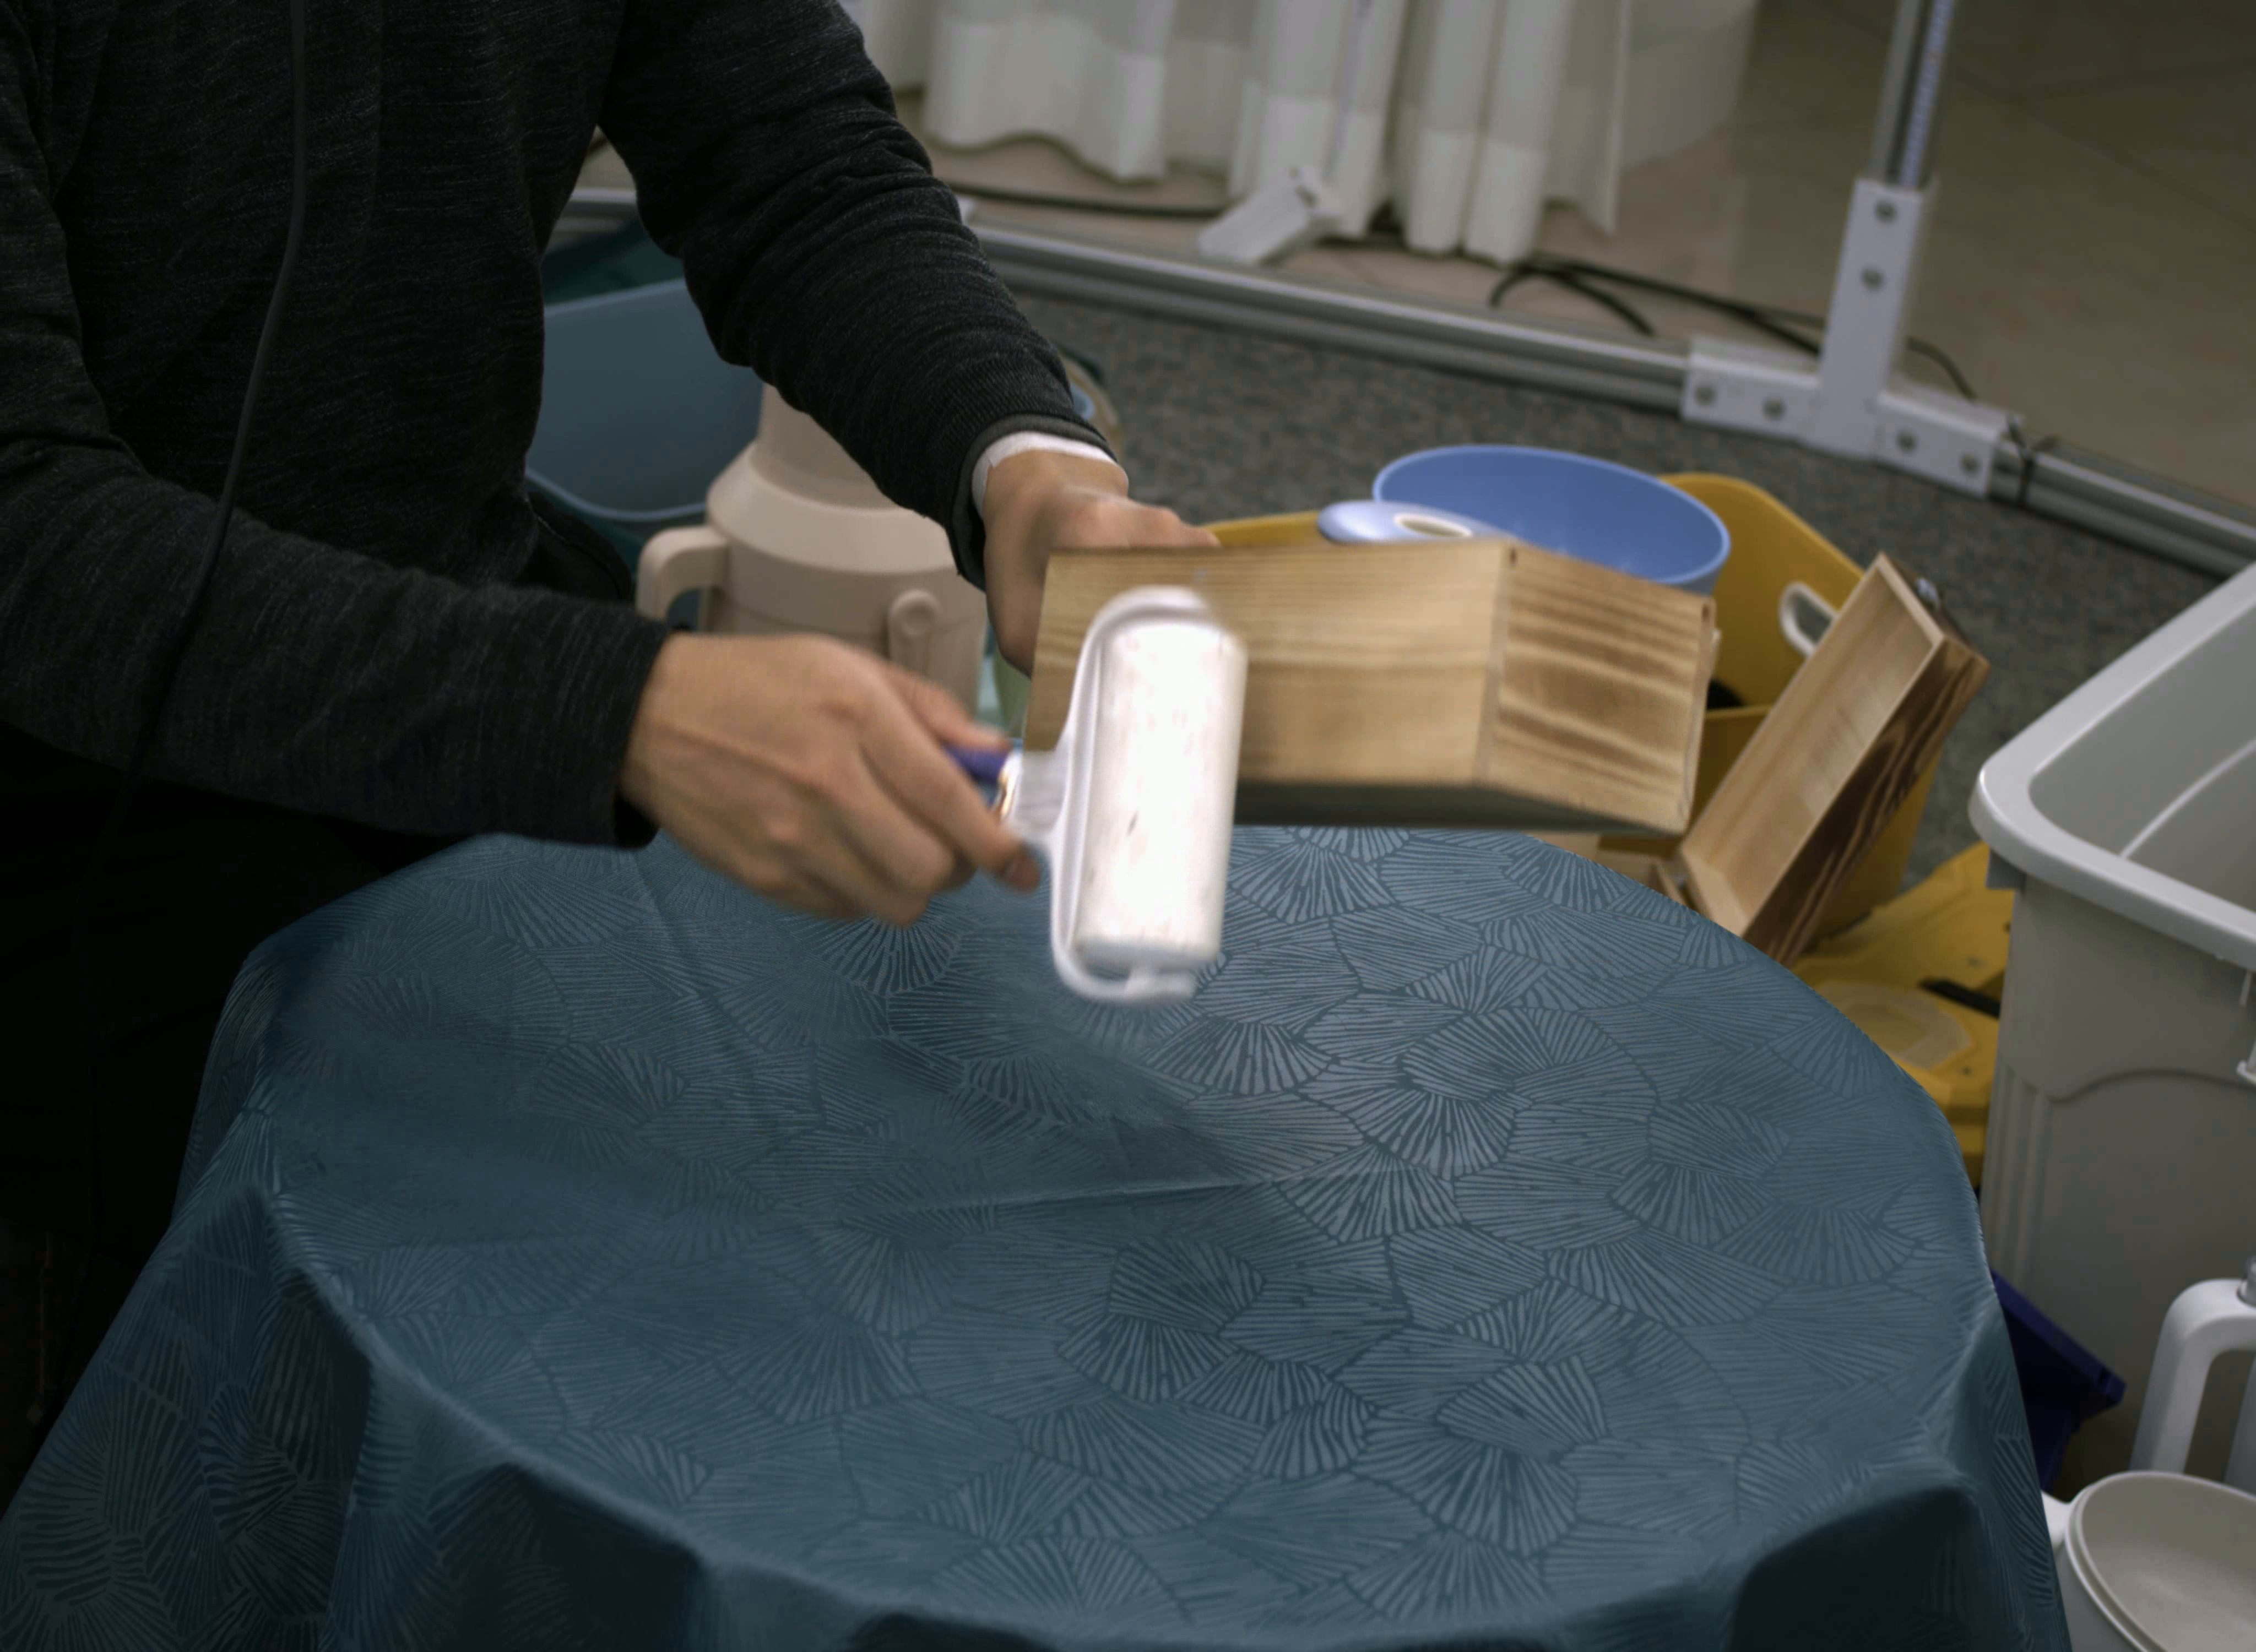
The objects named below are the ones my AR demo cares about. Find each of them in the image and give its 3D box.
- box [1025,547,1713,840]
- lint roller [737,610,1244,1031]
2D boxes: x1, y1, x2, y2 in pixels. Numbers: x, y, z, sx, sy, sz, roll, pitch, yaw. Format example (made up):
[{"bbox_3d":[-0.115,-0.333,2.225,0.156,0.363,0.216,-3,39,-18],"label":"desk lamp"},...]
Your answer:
[{"bbox_3d":[0.078,-0.042,1.773,0.106,0.080,0.212,11,-7,-43],"label":"box"},{"bbox_3d":[-0.052,-0.006,1.711,0.181,0.133,0.050,5,-9,23],"label":"lint roller"}]
